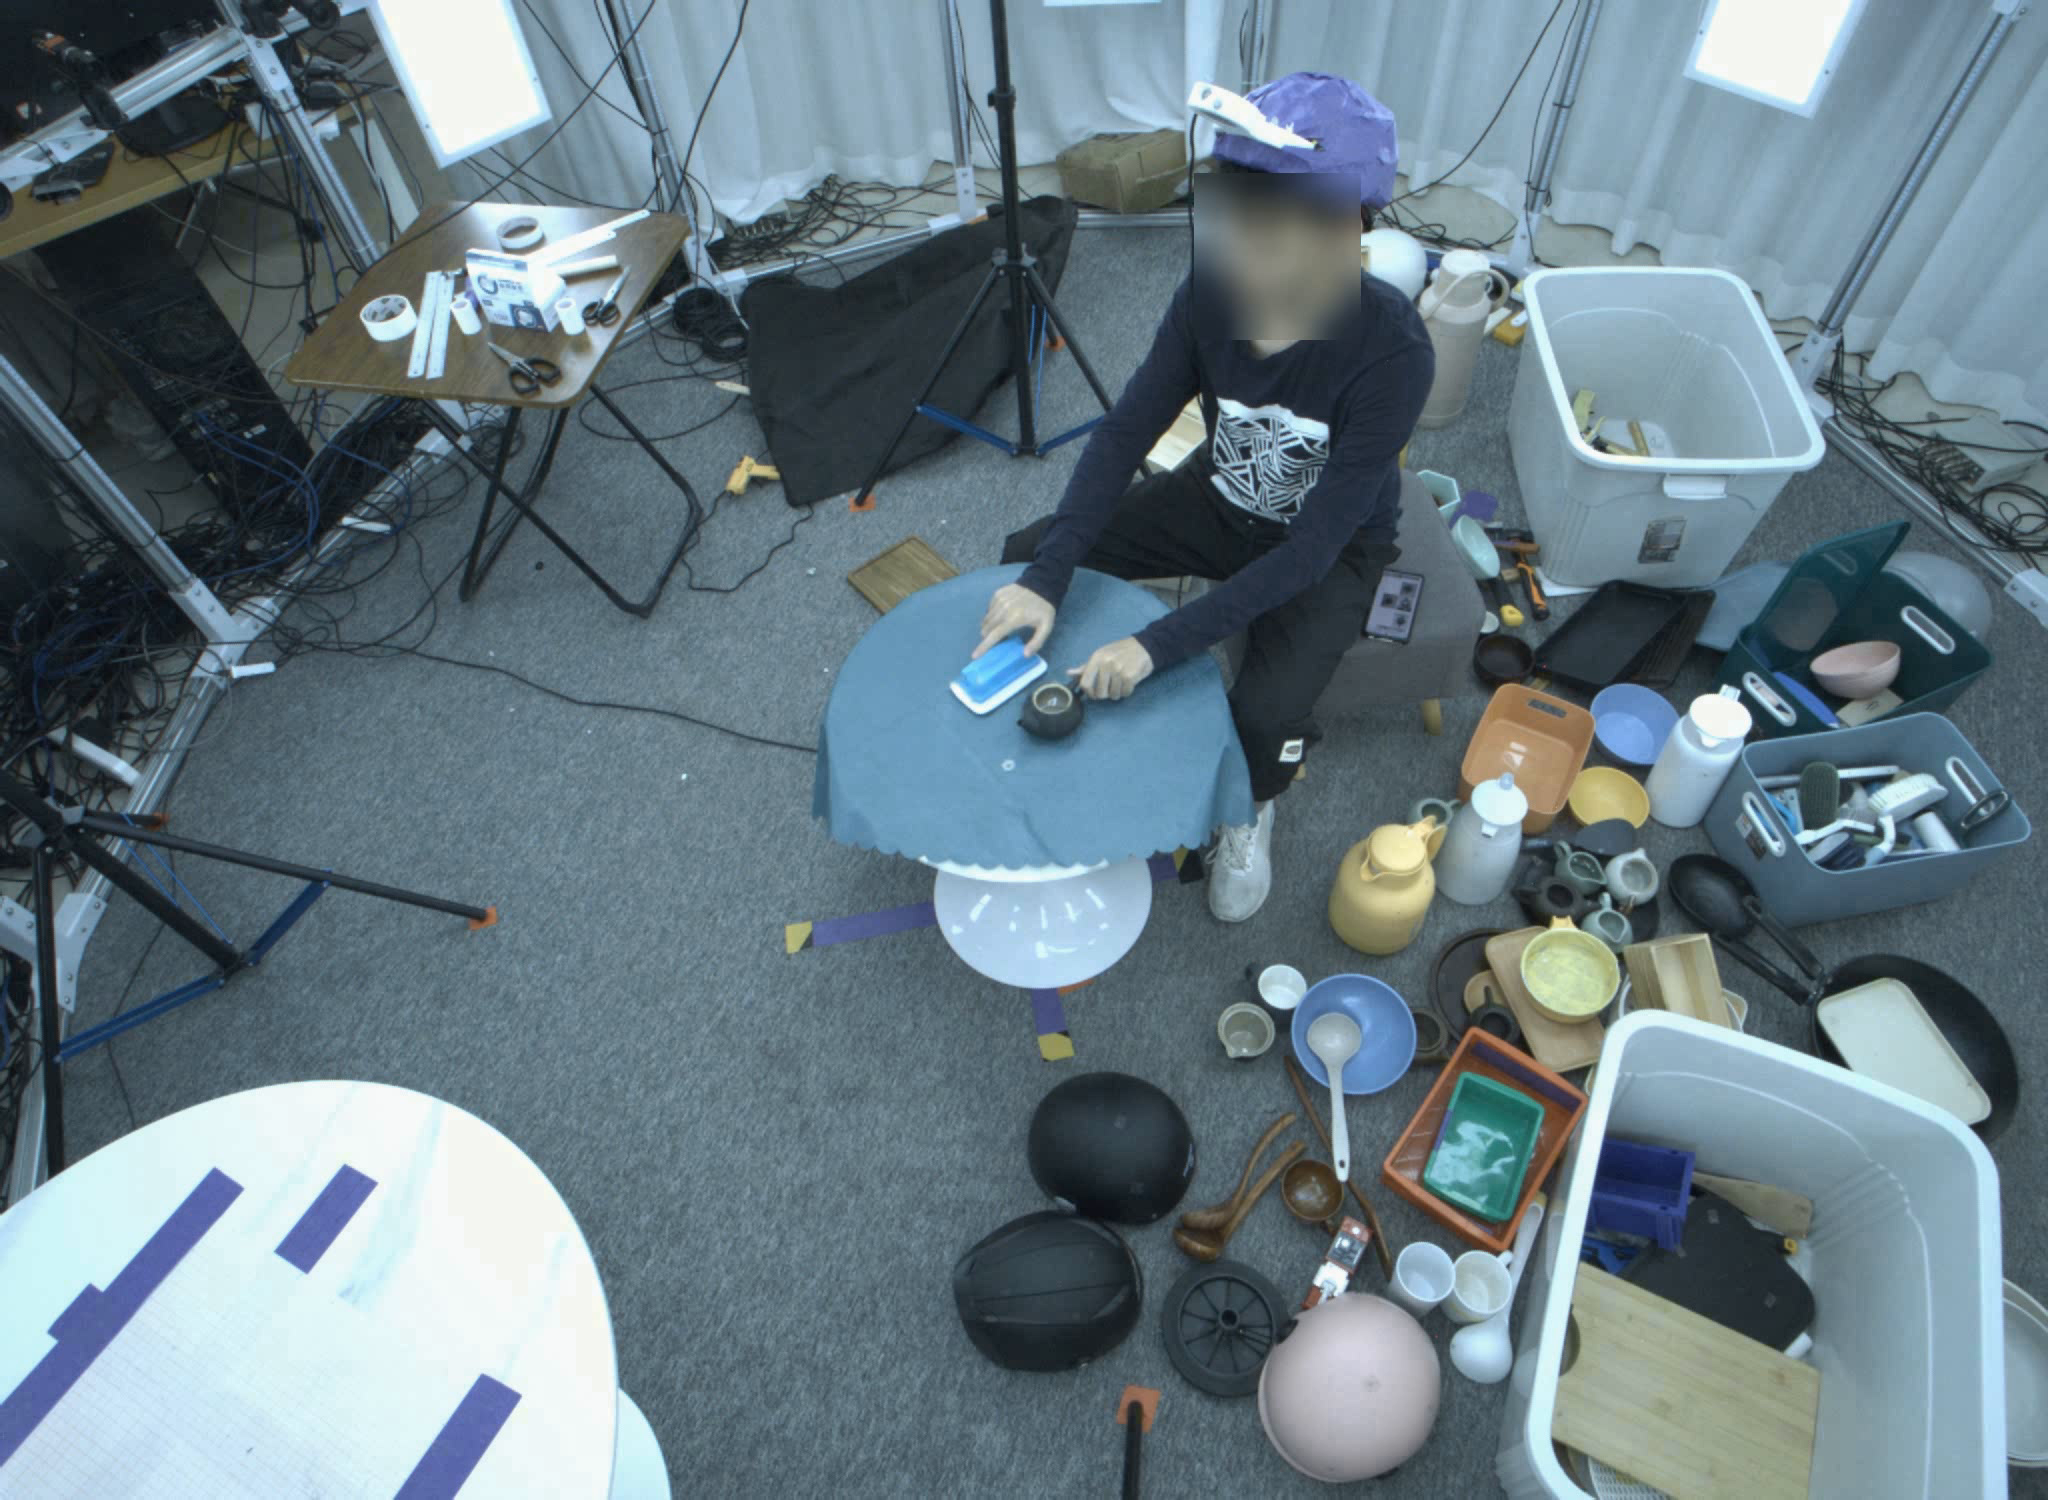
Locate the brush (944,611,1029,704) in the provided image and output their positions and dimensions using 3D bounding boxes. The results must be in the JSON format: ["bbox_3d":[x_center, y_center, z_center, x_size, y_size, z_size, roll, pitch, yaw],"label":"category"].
[{"bbox_3d":[-0.055,-0.143,1.827,0.083,0.056,0.144,26,73,9],"label":"brush"}]

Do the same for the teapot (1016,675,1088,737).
[{"bbox_3d":[0.042,-0.061,1.787,0.134,0.053,0.089,-37,62,-21],"label":"teapot"}]
